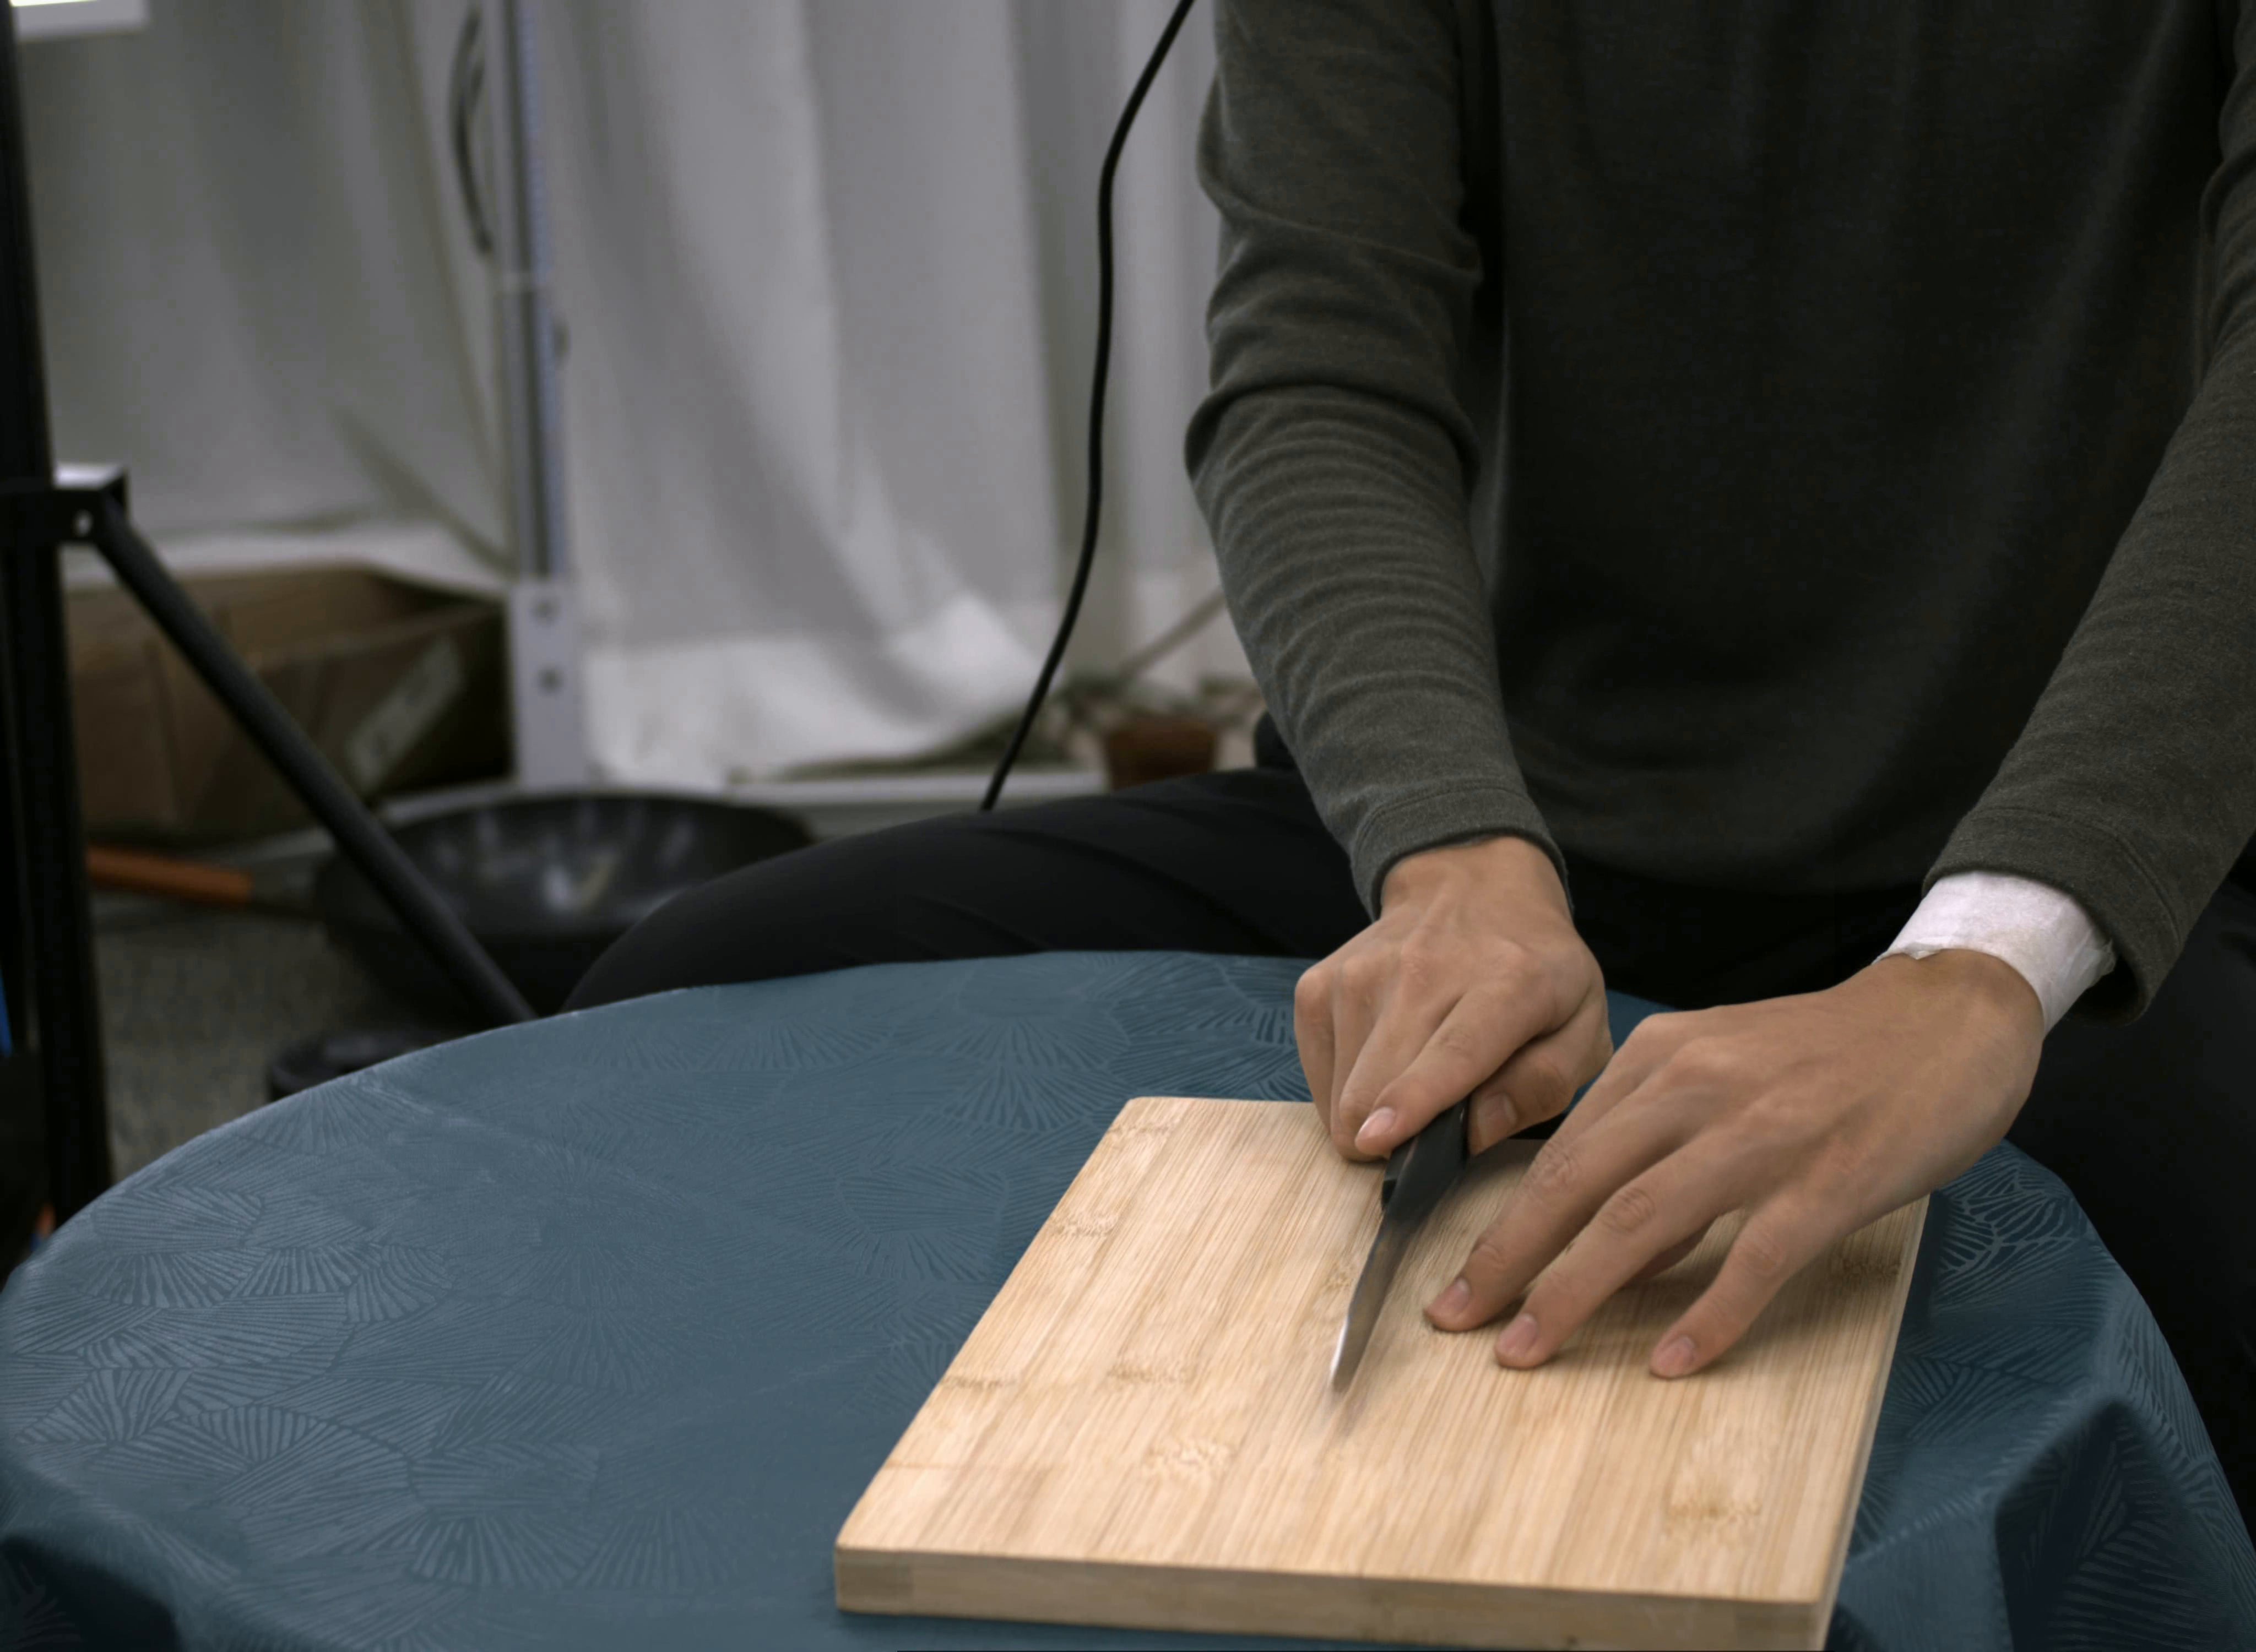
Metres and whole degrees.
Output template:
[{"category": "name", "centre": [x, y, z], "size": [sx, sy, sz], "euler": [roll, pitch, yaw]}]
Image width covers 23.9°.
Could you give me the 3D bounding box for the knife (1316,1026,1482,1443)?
[{"category": "knife", "centre": [0.073, 0.106, 1.427], "size": [0.016, 0.024, 0.237], "euler": [6, 23, 11]}]

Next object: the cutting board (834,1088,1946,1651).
[{"category": "cutting board", "centre": [0.083, 0.139, 1.411], "size": [0.252, 0.023, 0.346], "euler": [2, 16, 12]}]
